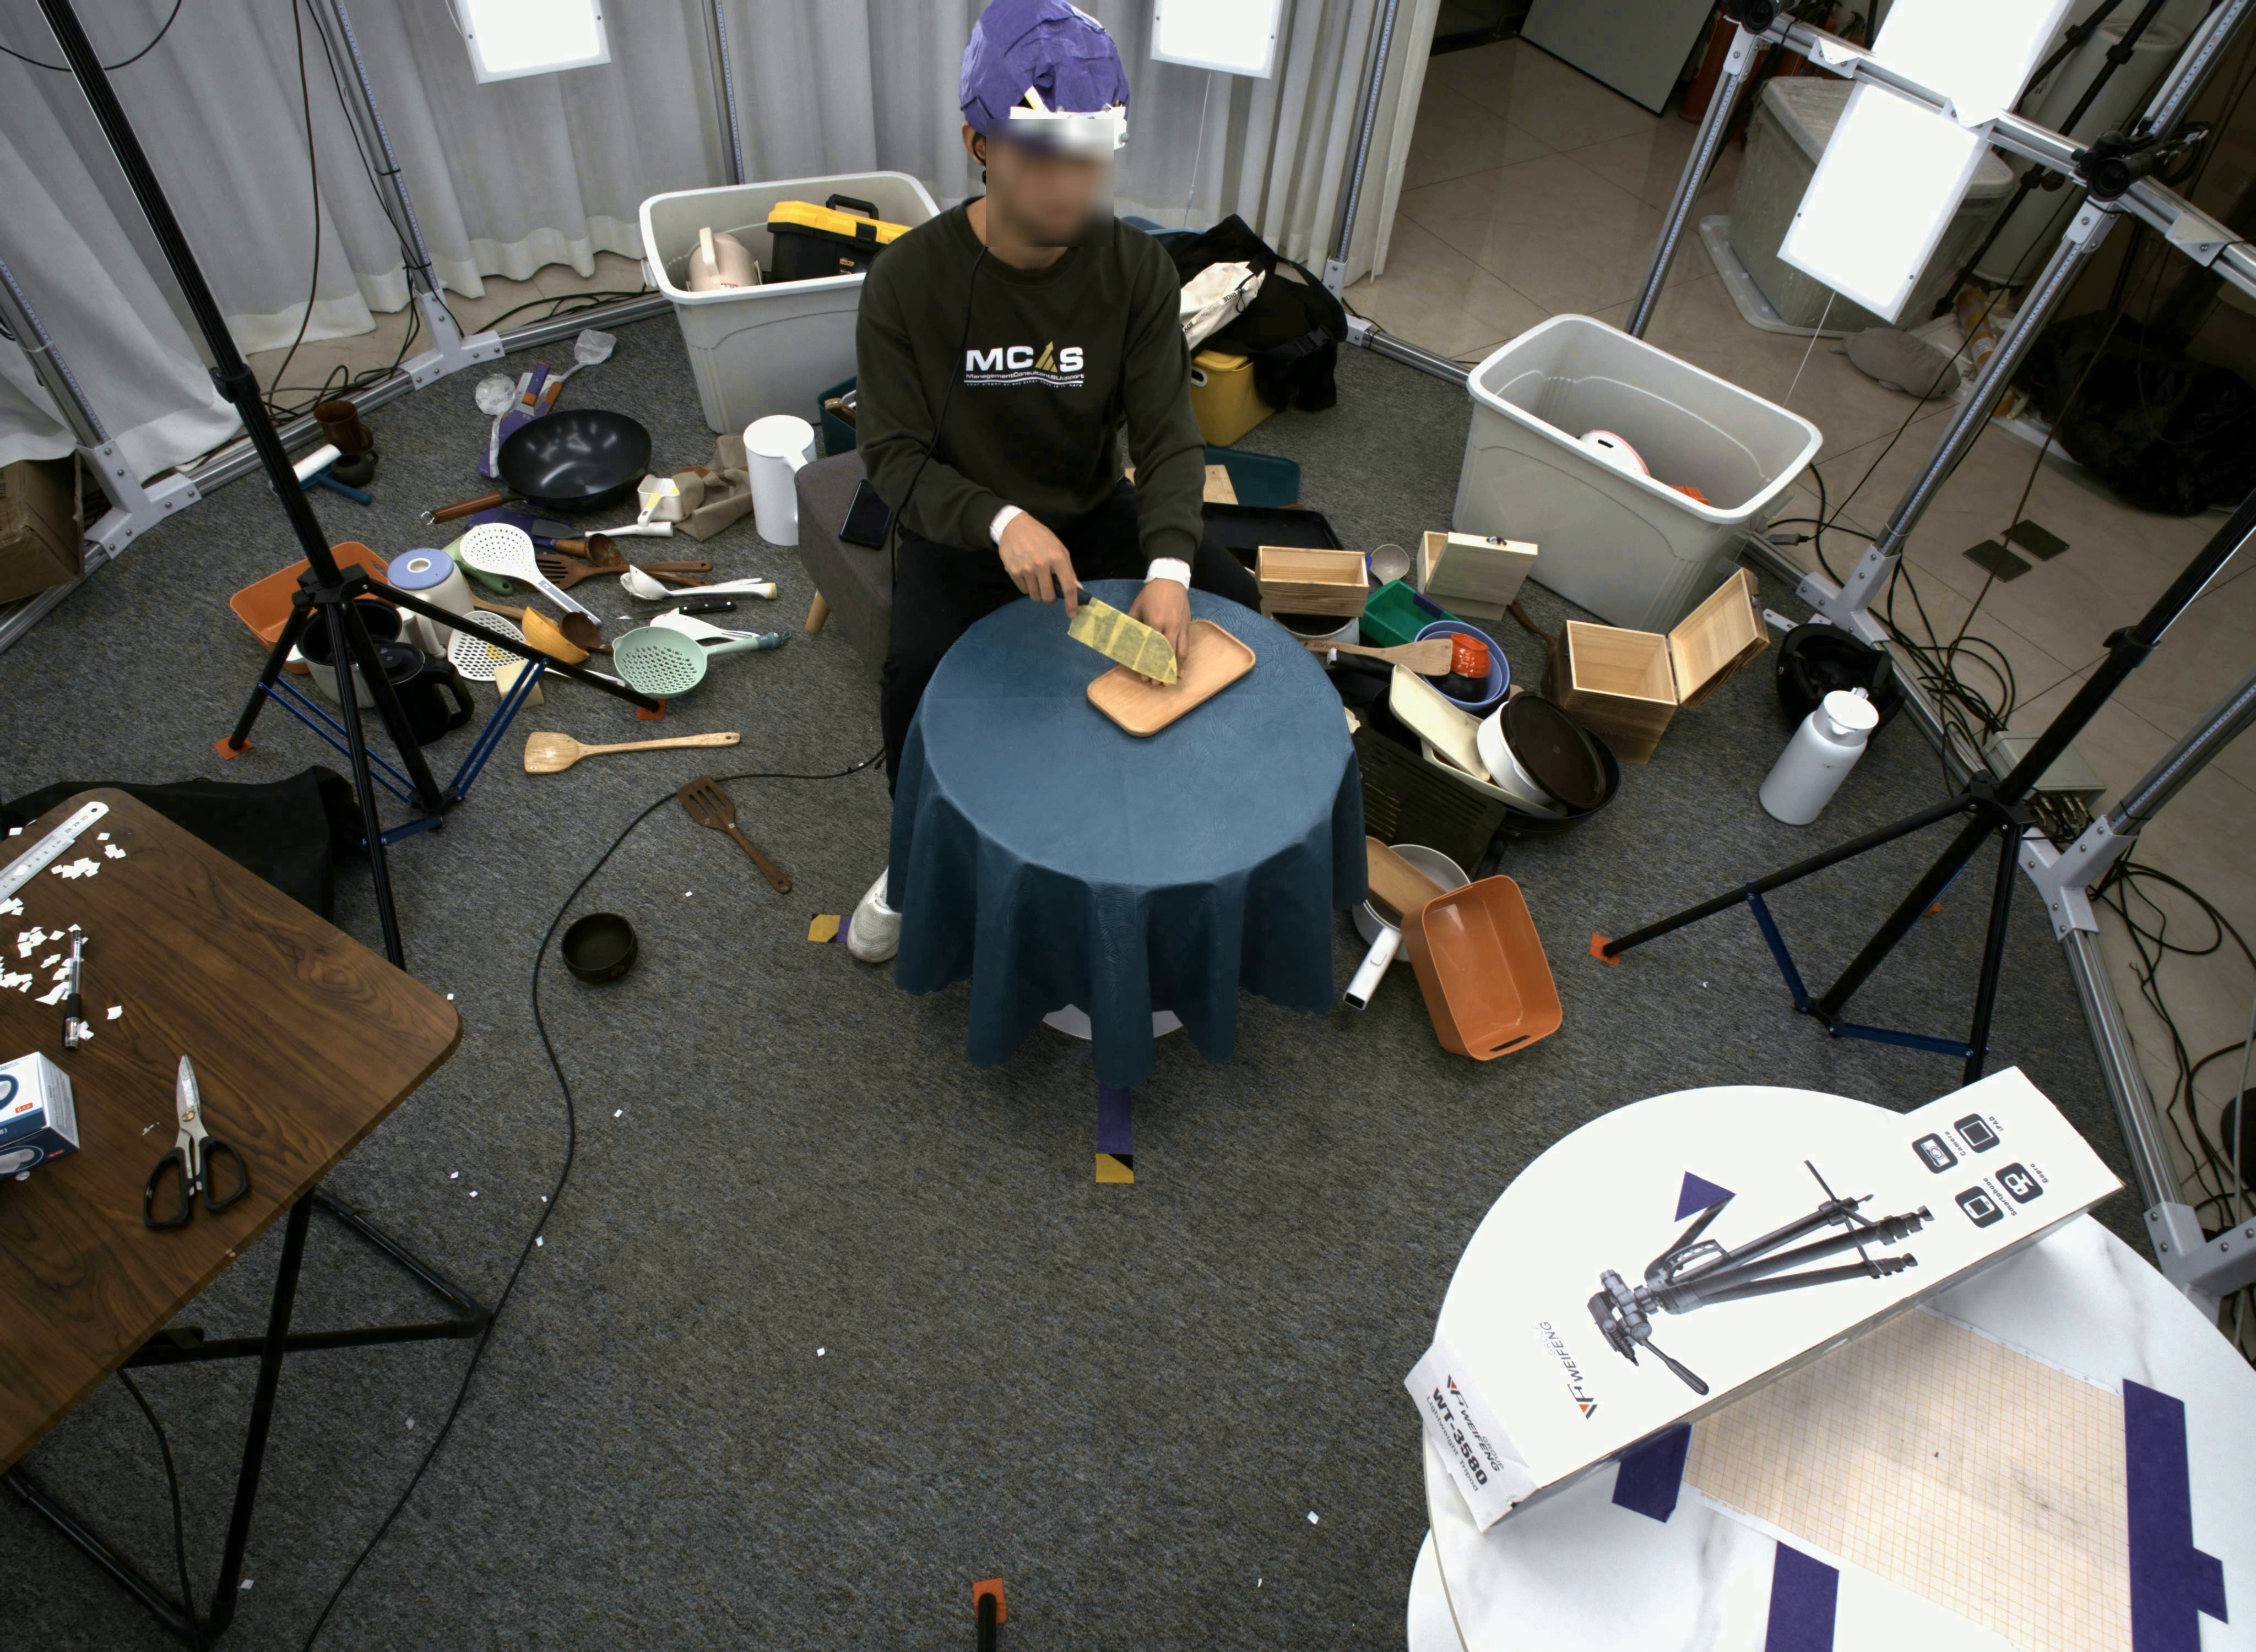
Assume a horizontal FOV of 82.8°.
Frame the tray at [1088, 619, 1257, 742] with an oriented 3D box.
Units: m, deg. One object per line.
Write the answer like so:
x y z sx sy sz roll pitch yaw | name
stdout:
0.066 -0.211 1.850 0.253 0.022 0.132 -36 57 -26 | tray

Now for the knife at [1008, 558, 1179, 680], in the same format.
-0.051 -0.292 1.816 0.291 0.079 0.027 33 33 8 | knife
